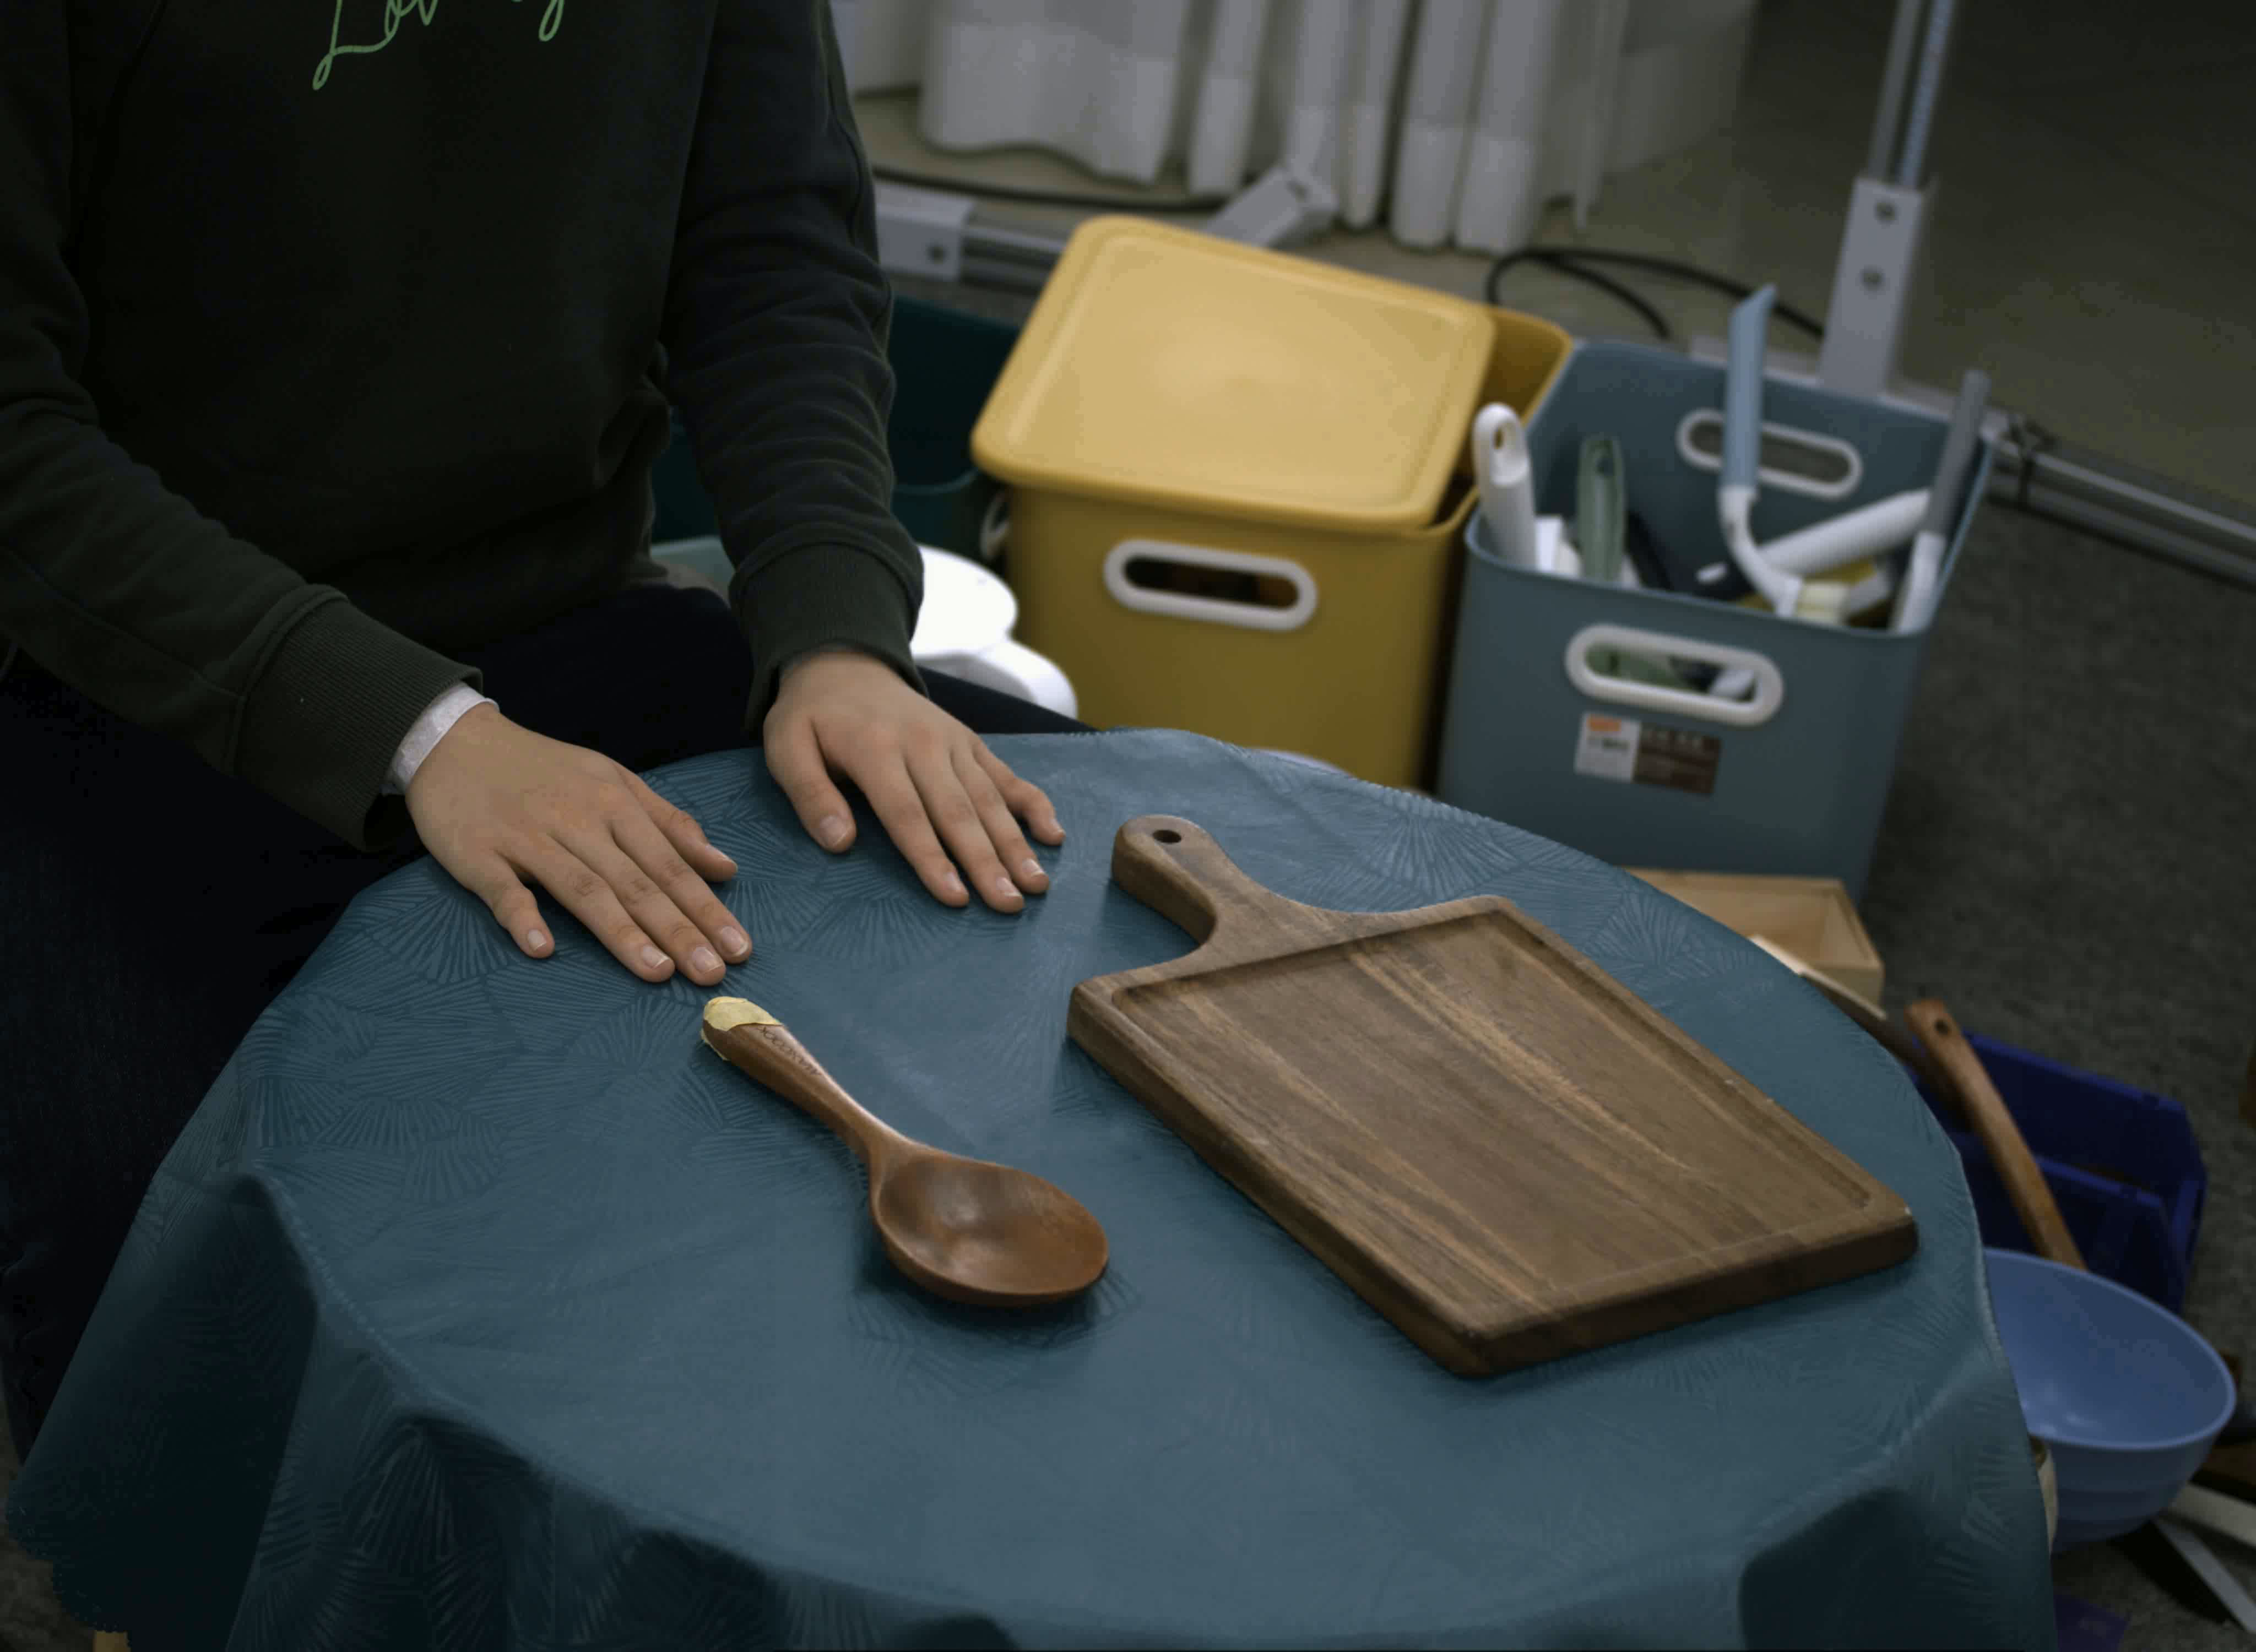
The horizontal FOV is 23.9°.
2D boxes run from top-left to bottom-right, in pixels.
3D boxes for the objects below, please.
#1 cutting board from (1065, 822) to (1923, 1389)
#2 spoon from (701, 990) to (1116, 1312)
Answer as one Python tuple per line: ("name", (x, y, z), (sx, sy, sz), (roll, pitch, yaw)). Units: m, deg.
("cutting board", (0.098, 0.083, 1.885), (0.200, 0.023, 0.355), (-12, 32, -30))
("spoon", (-0.081, 0.109, 1.790), (0.075, 0.017, 0.218), (-14, 34, -32))
